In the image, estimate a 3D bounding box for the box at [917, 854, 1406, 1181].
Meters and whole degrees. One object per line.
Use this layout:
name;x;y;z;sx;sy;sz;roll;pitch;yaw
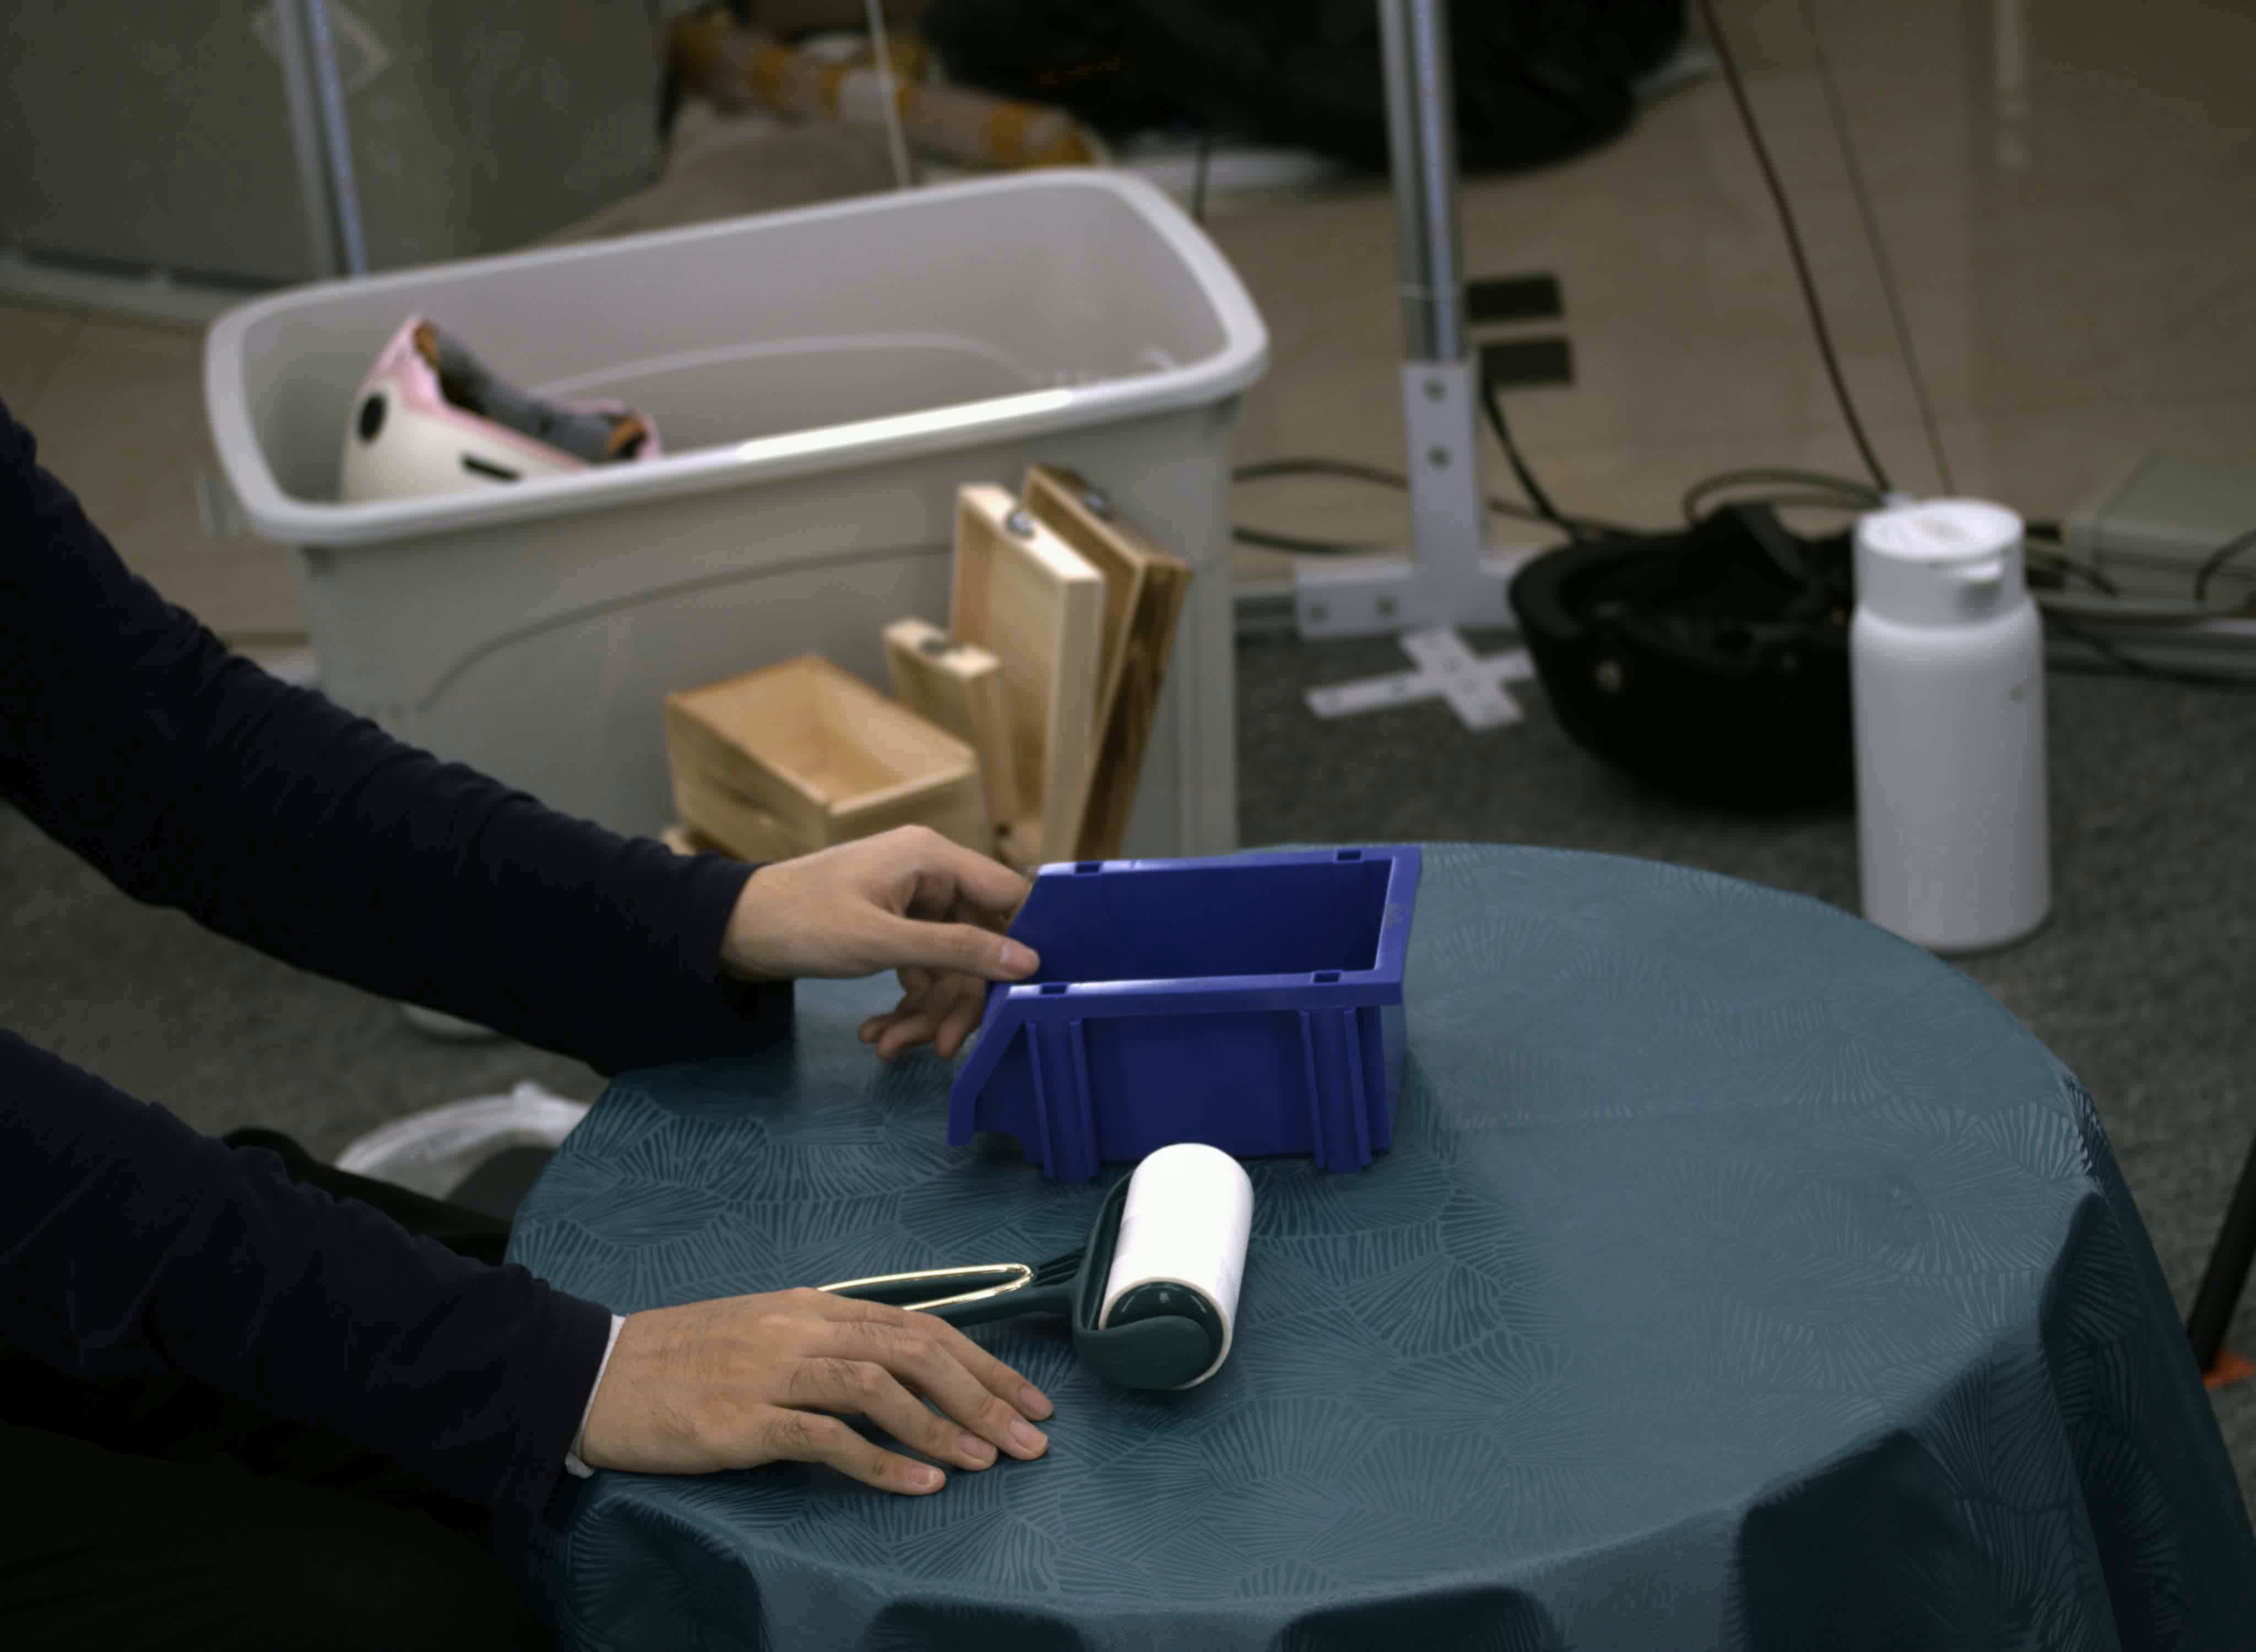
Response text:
box;0.014;0.074;2.191;0.179;0.083;0.122;0;27;9

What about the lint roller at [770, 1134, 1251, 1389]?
lint roller;-0.047;0.166;2.060;0.180;0.049;0.132;-7;25;10
